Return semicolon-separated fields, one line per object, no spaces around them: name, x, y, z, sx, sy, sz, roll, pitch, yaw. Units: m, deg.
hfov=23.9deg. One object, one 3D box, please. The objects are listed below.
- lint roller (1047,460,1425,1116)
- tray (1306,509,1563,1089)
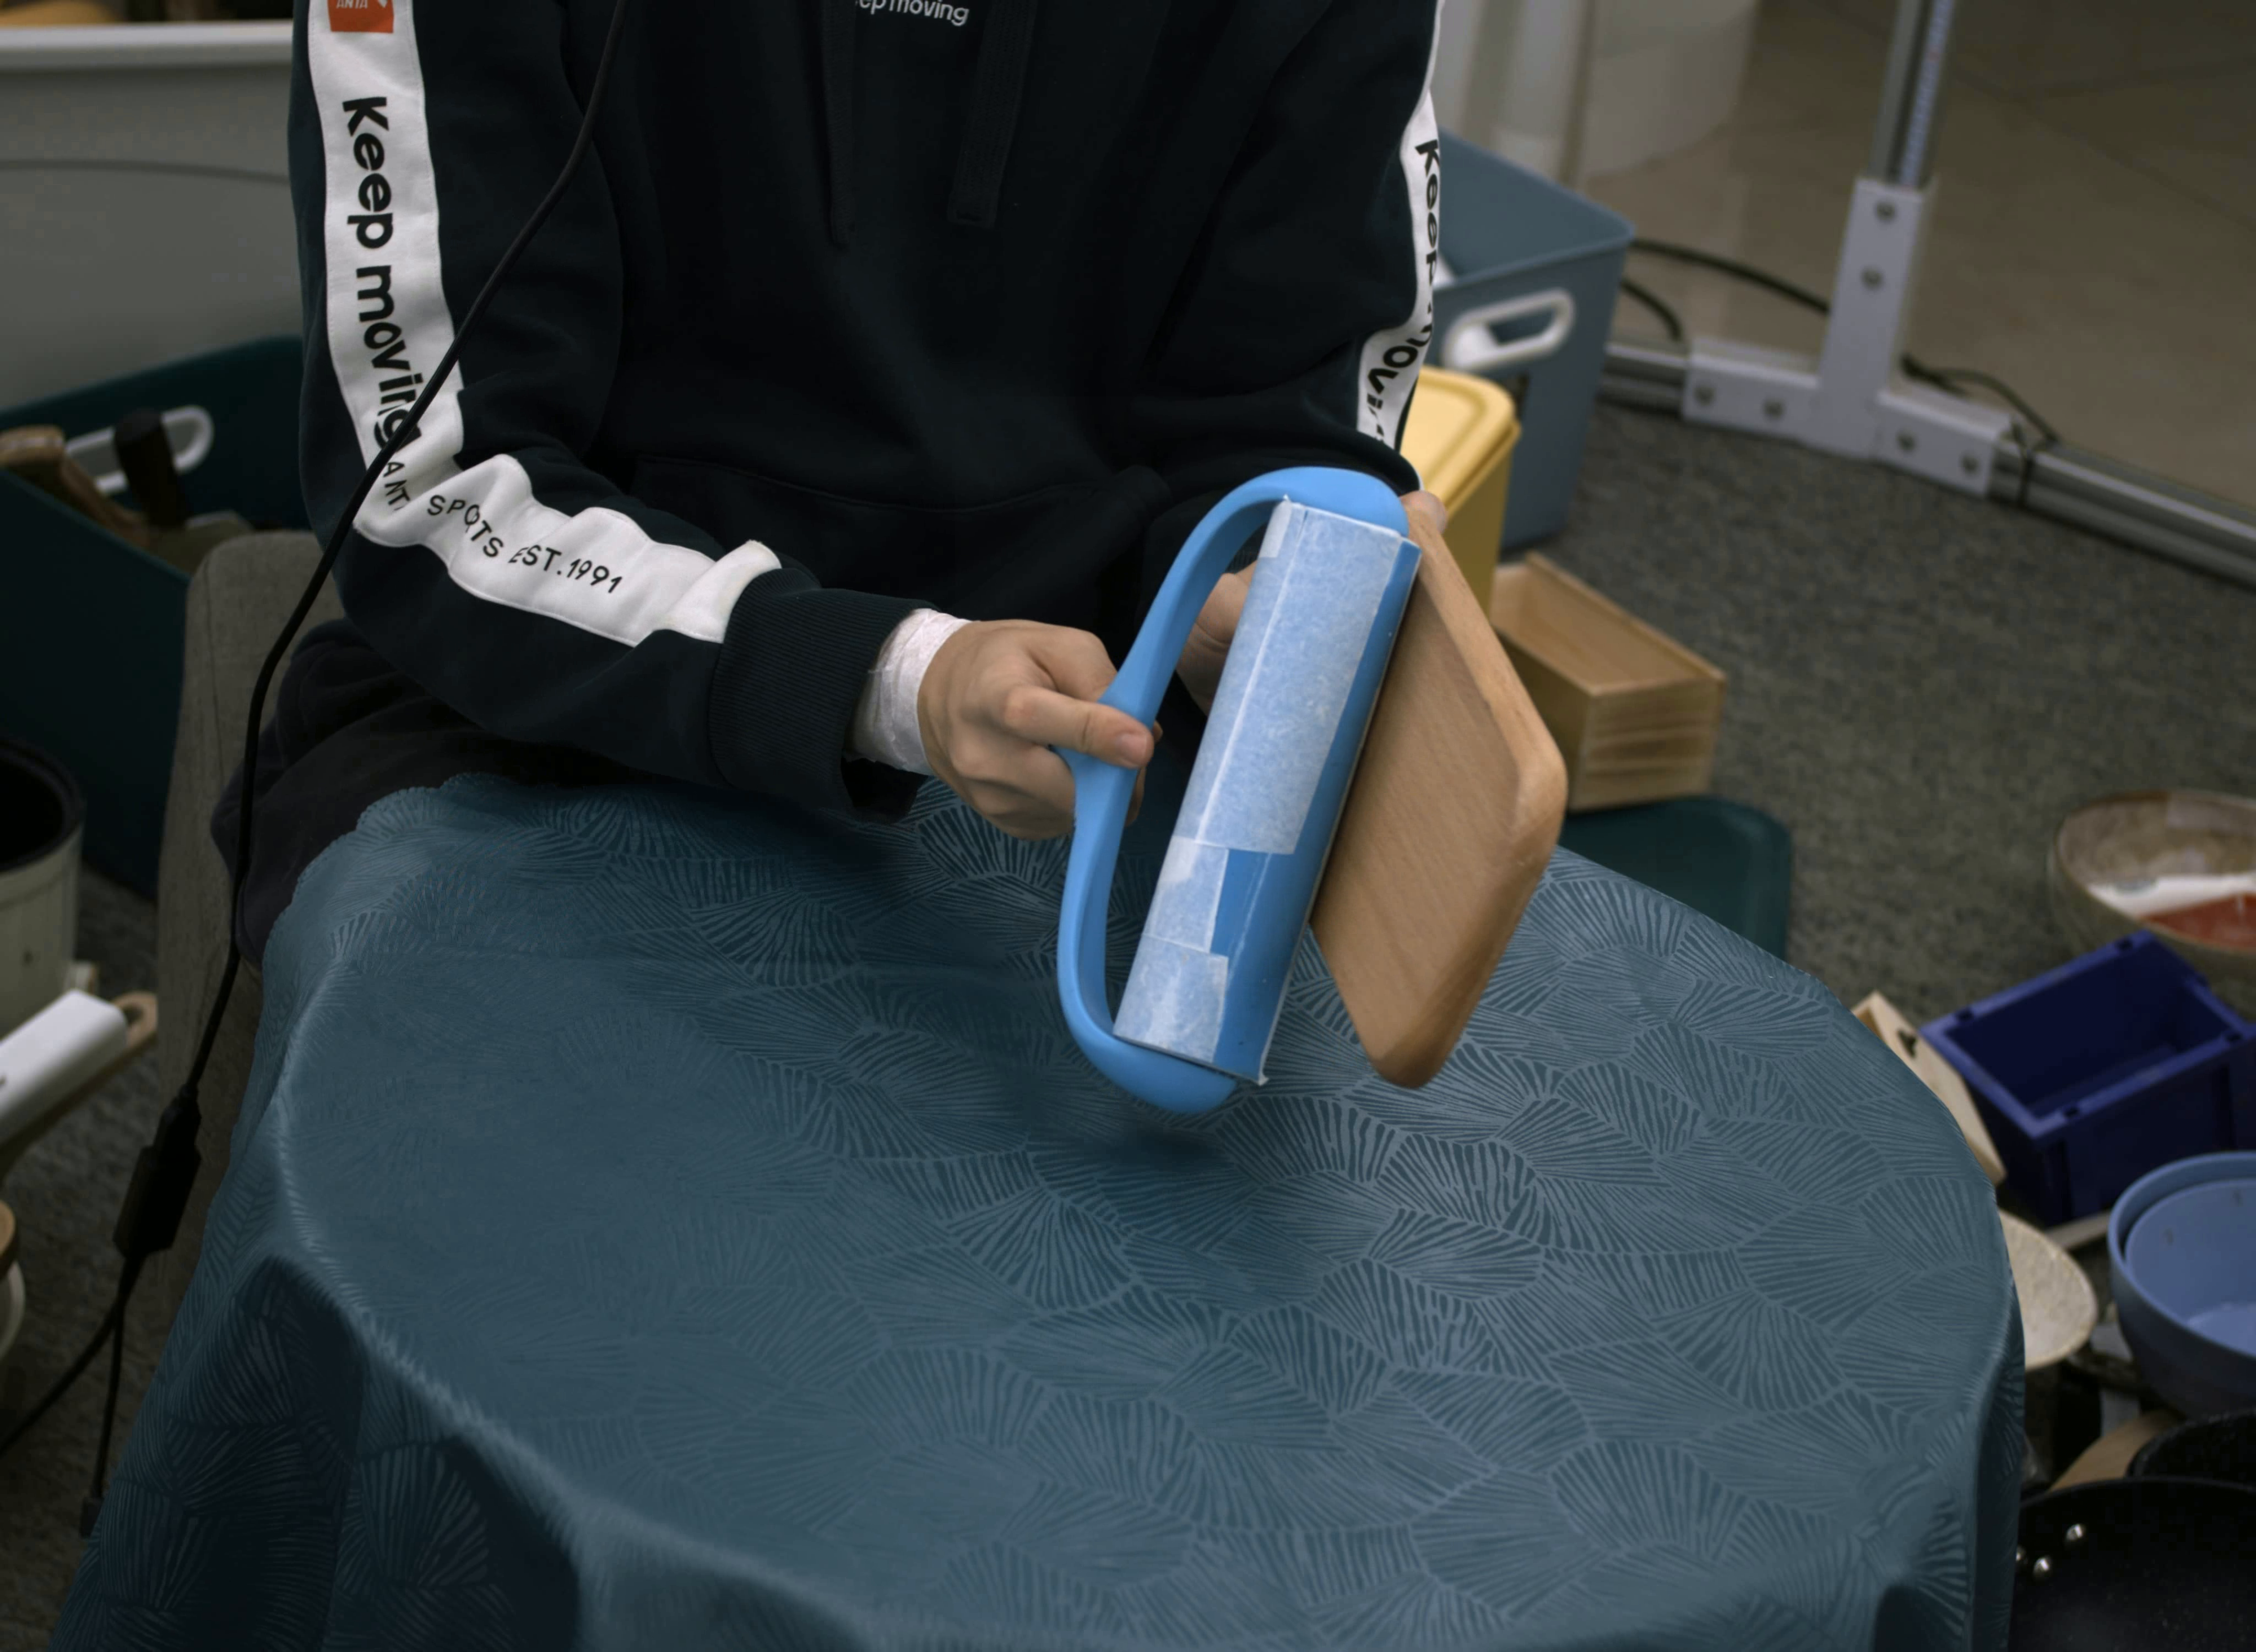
lint roller;0.012;-0.019;1.858;0.067;0.229;0.181;18;-5;-37
tray;0.090;-0.015;1.805;0.023;0.130;0.252;21;19;-20
